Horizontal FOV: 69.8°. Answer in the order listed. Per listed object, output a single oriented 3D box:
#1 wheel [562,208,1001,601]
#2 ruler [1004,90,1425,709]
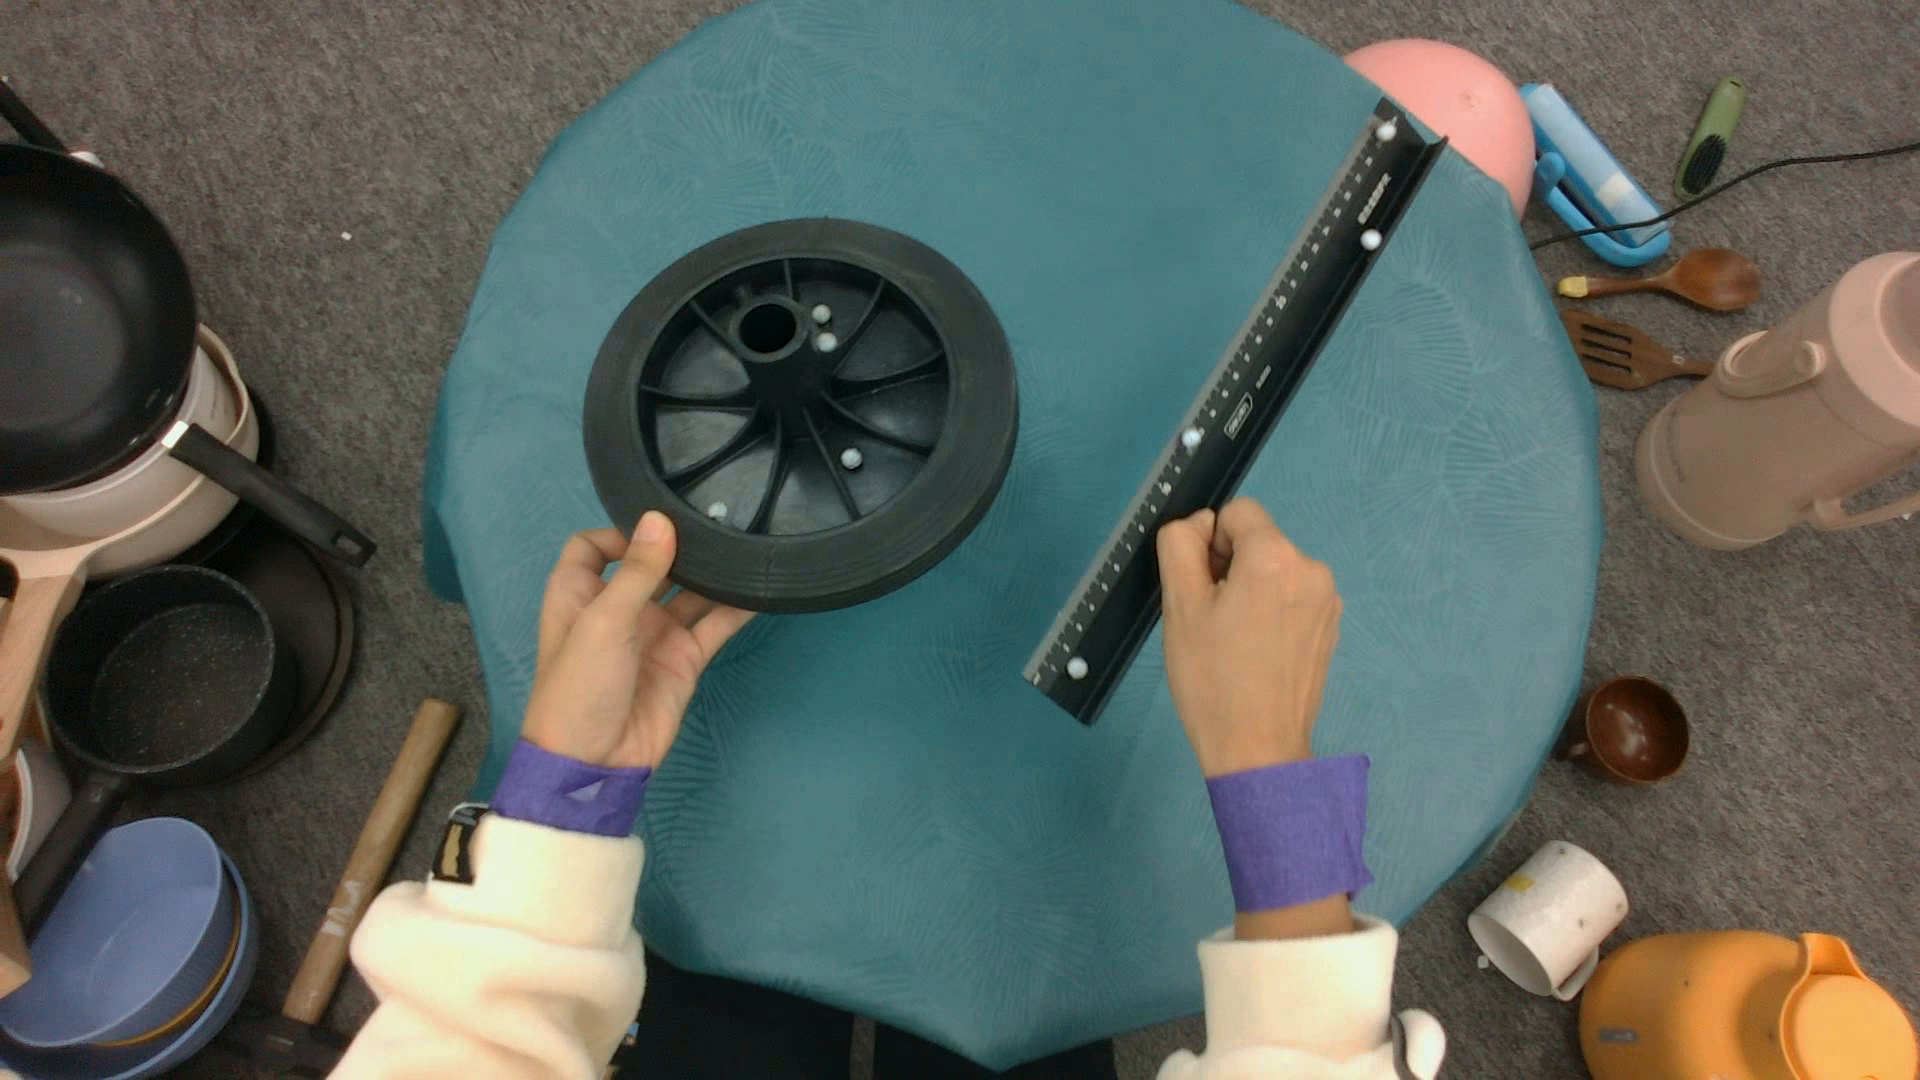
[{"bbox_3d":[-0.079,-0.072,0.575,0.190,0.079,0.188,38,74,19],"label":"wheel"},{"bbox_3d":[0.115,-0.068,0.581,0.039,0.017,0.313,39,74,-21],"label":"ruler"}]
